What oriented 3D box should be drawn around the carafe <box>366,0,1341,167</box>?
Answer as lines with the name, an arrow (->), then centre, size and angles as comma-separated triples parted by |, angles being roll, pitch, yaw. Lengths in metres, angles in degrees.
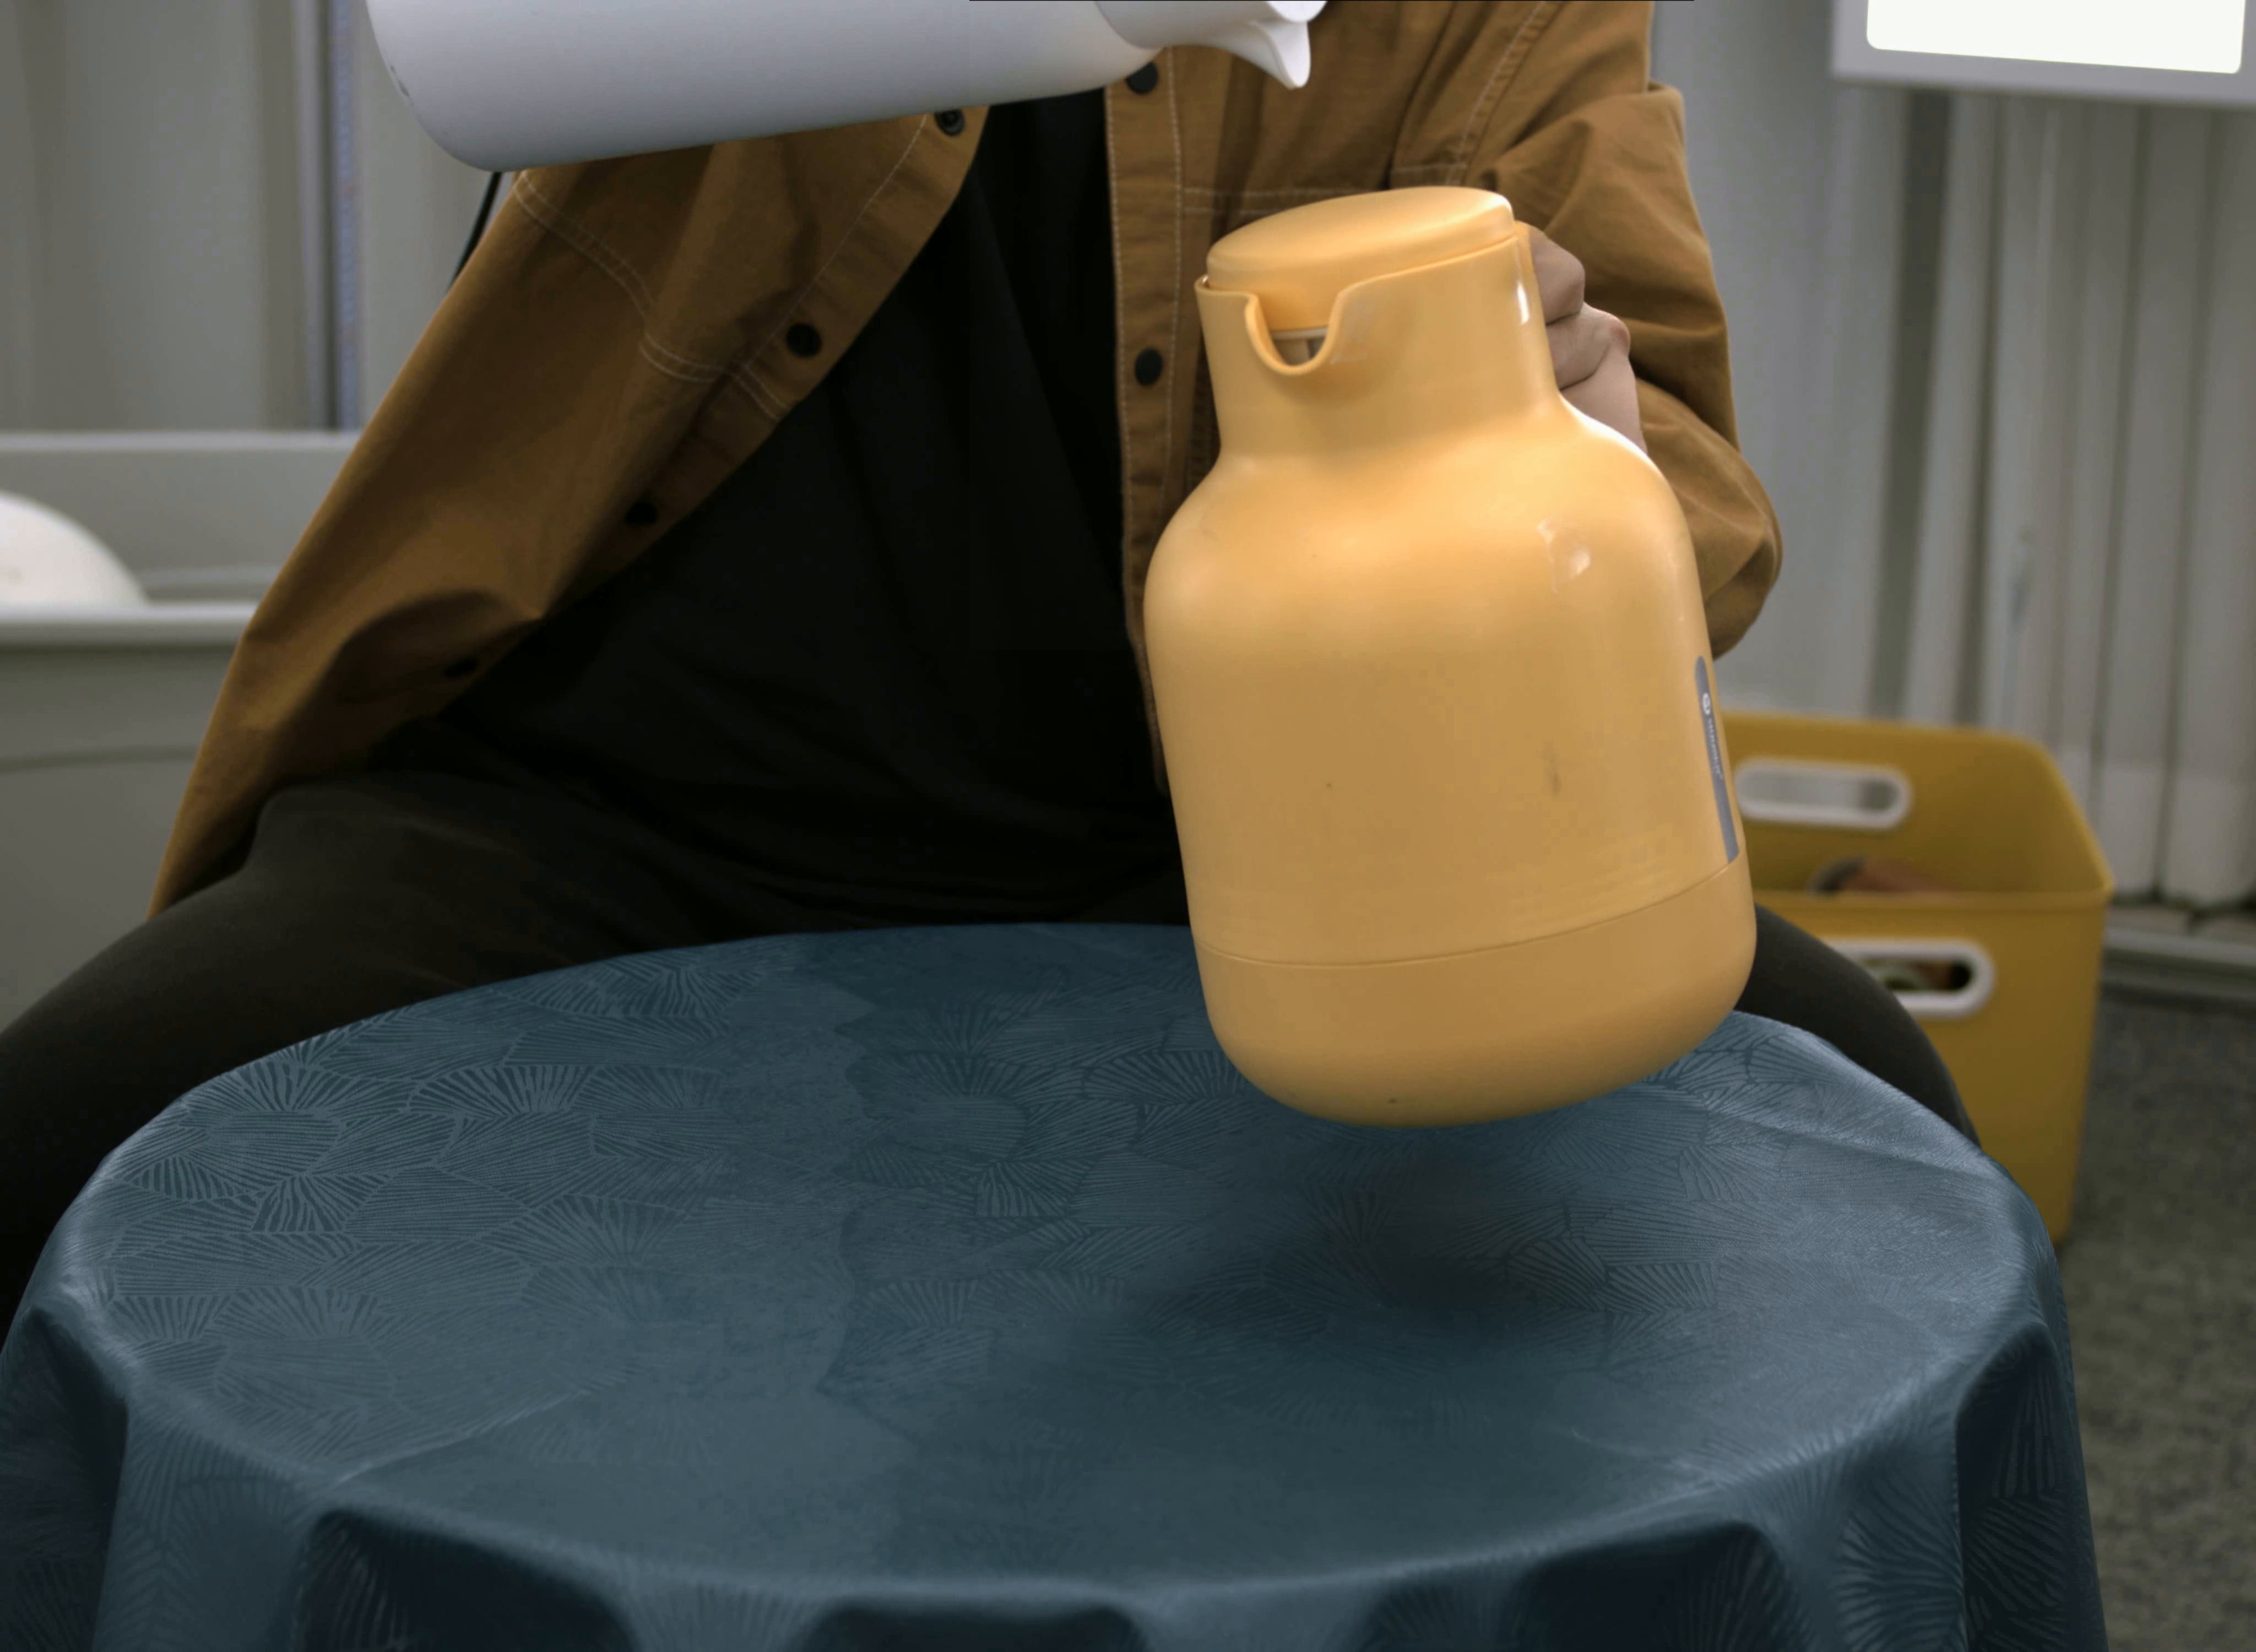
carafe -> -0.083, -0.276, 1.477 | 0.266, 0.175, 0.123 | -5, 26, 24

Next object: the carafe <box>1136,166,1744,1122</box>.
carafe -> 0.092, -0.061, 1.528 | 0.162, 0.263, 0.202 | -2, 18, 22
